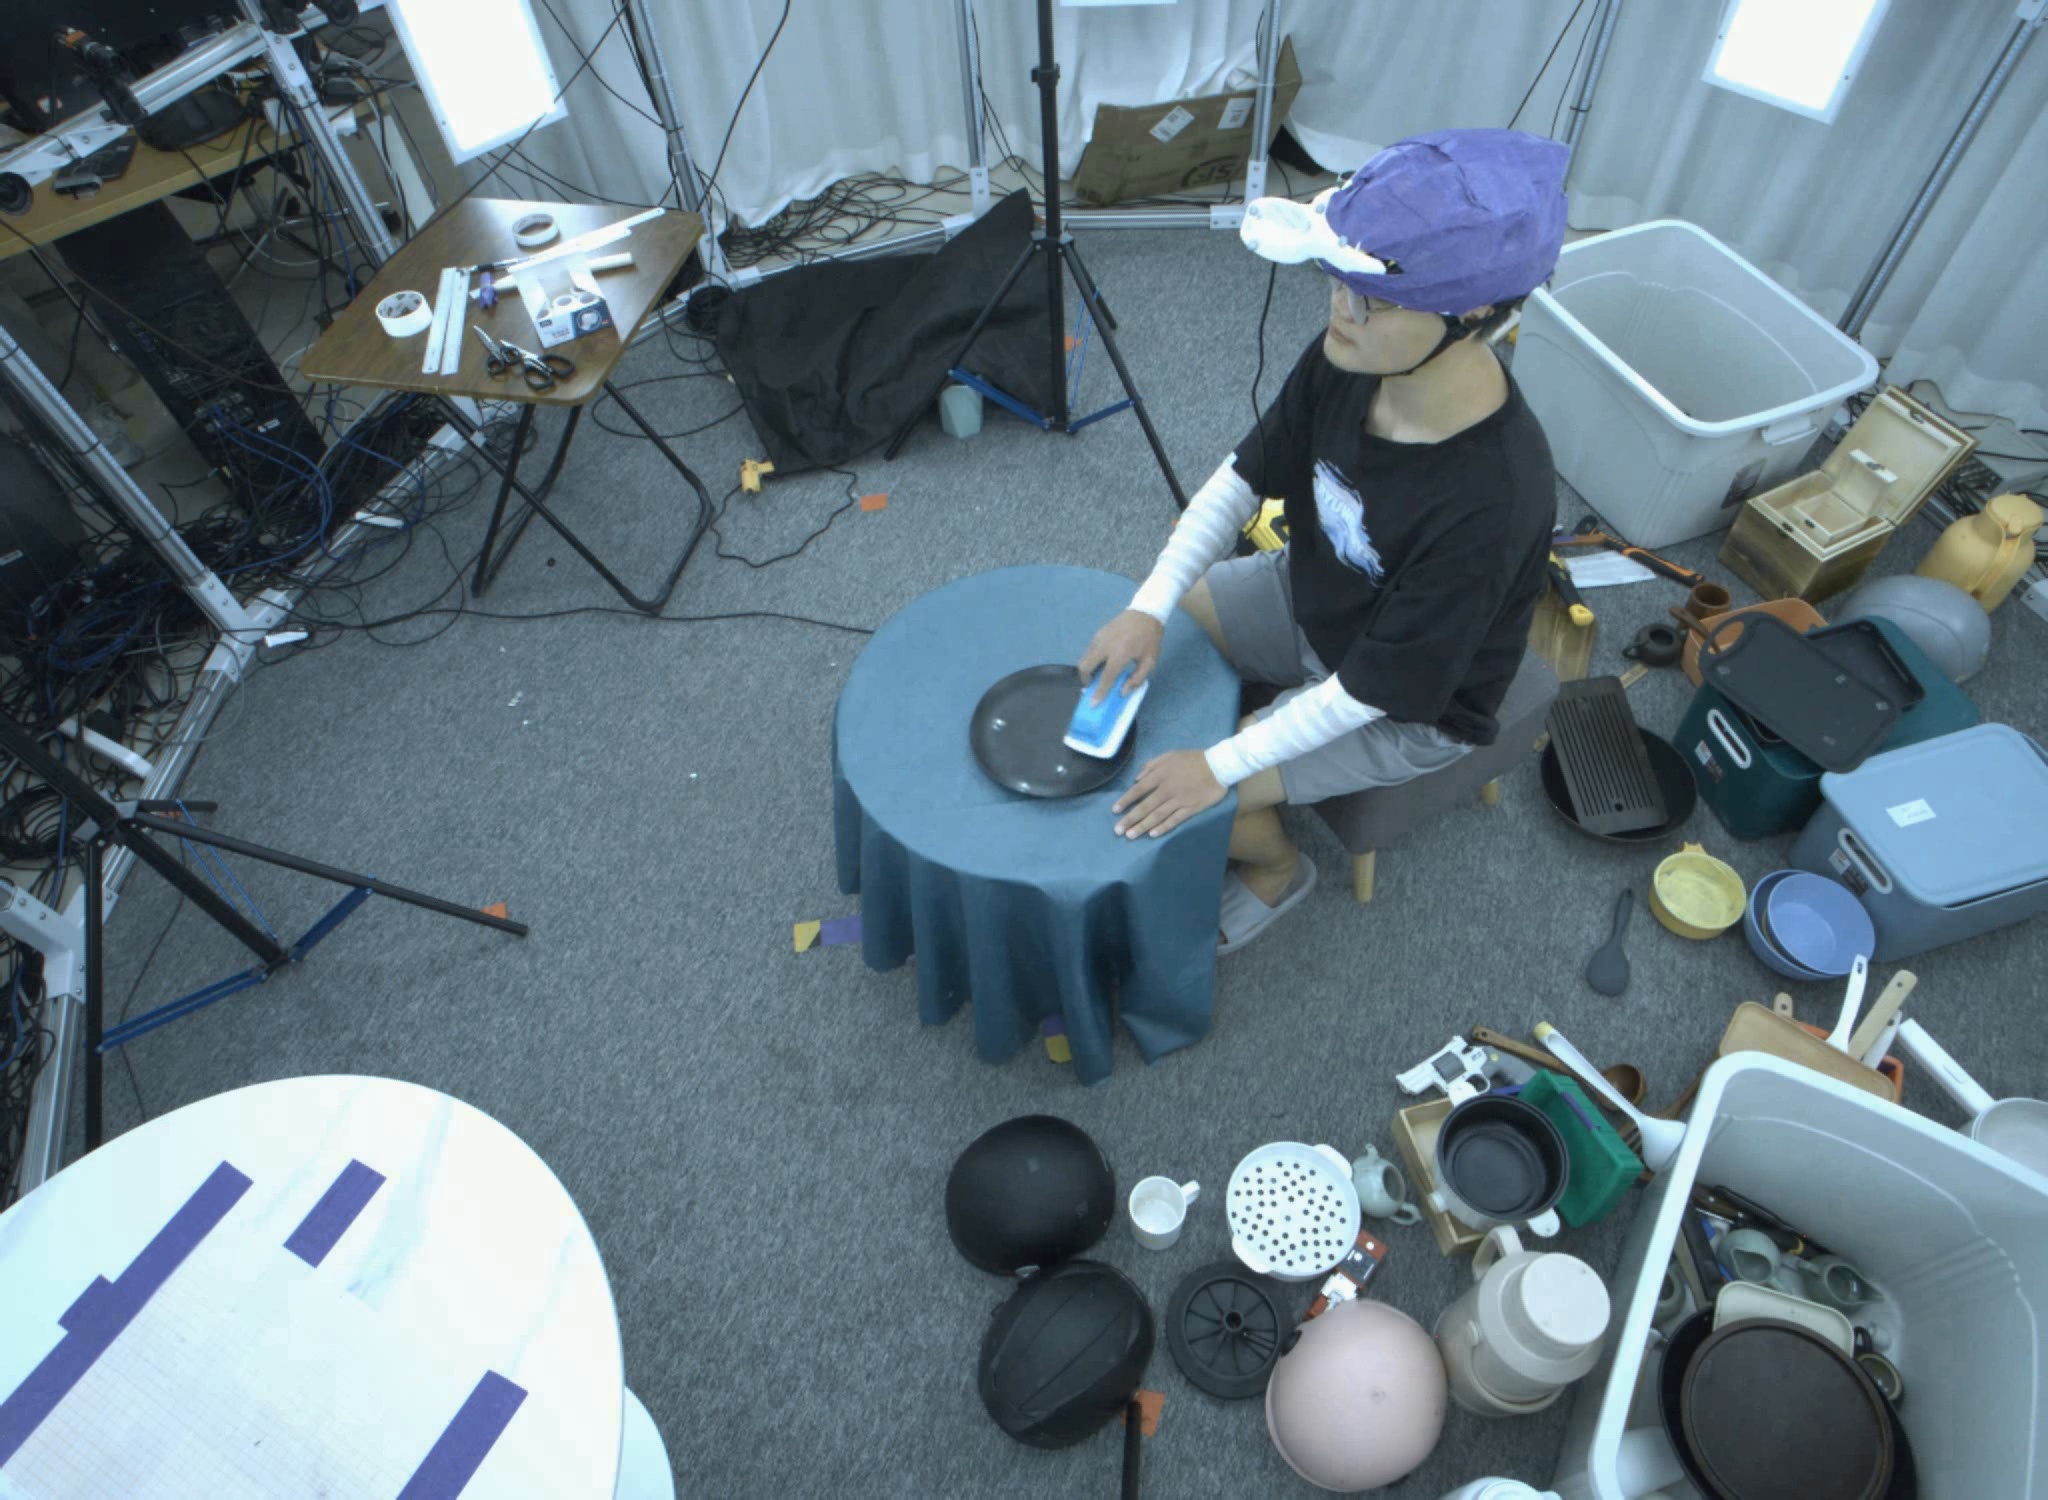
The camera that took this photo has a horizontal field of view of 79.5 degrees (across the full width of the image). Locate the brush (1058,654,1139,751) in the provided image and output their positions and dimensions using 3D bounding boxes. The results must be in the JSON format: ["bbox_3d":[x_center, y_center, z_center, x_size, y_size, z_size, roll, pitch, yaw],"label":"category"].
[{"bbox_3d":[0.104,-0.075,1.758,0.082,0.057,0.144,17,74,24],"label":"brush"}]

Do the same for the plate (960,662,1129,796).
[{"bbox_3d":[0.030,-0.029,1.783,0.244,0.024,0.242,-1,54,2],"label":"plate"}]
